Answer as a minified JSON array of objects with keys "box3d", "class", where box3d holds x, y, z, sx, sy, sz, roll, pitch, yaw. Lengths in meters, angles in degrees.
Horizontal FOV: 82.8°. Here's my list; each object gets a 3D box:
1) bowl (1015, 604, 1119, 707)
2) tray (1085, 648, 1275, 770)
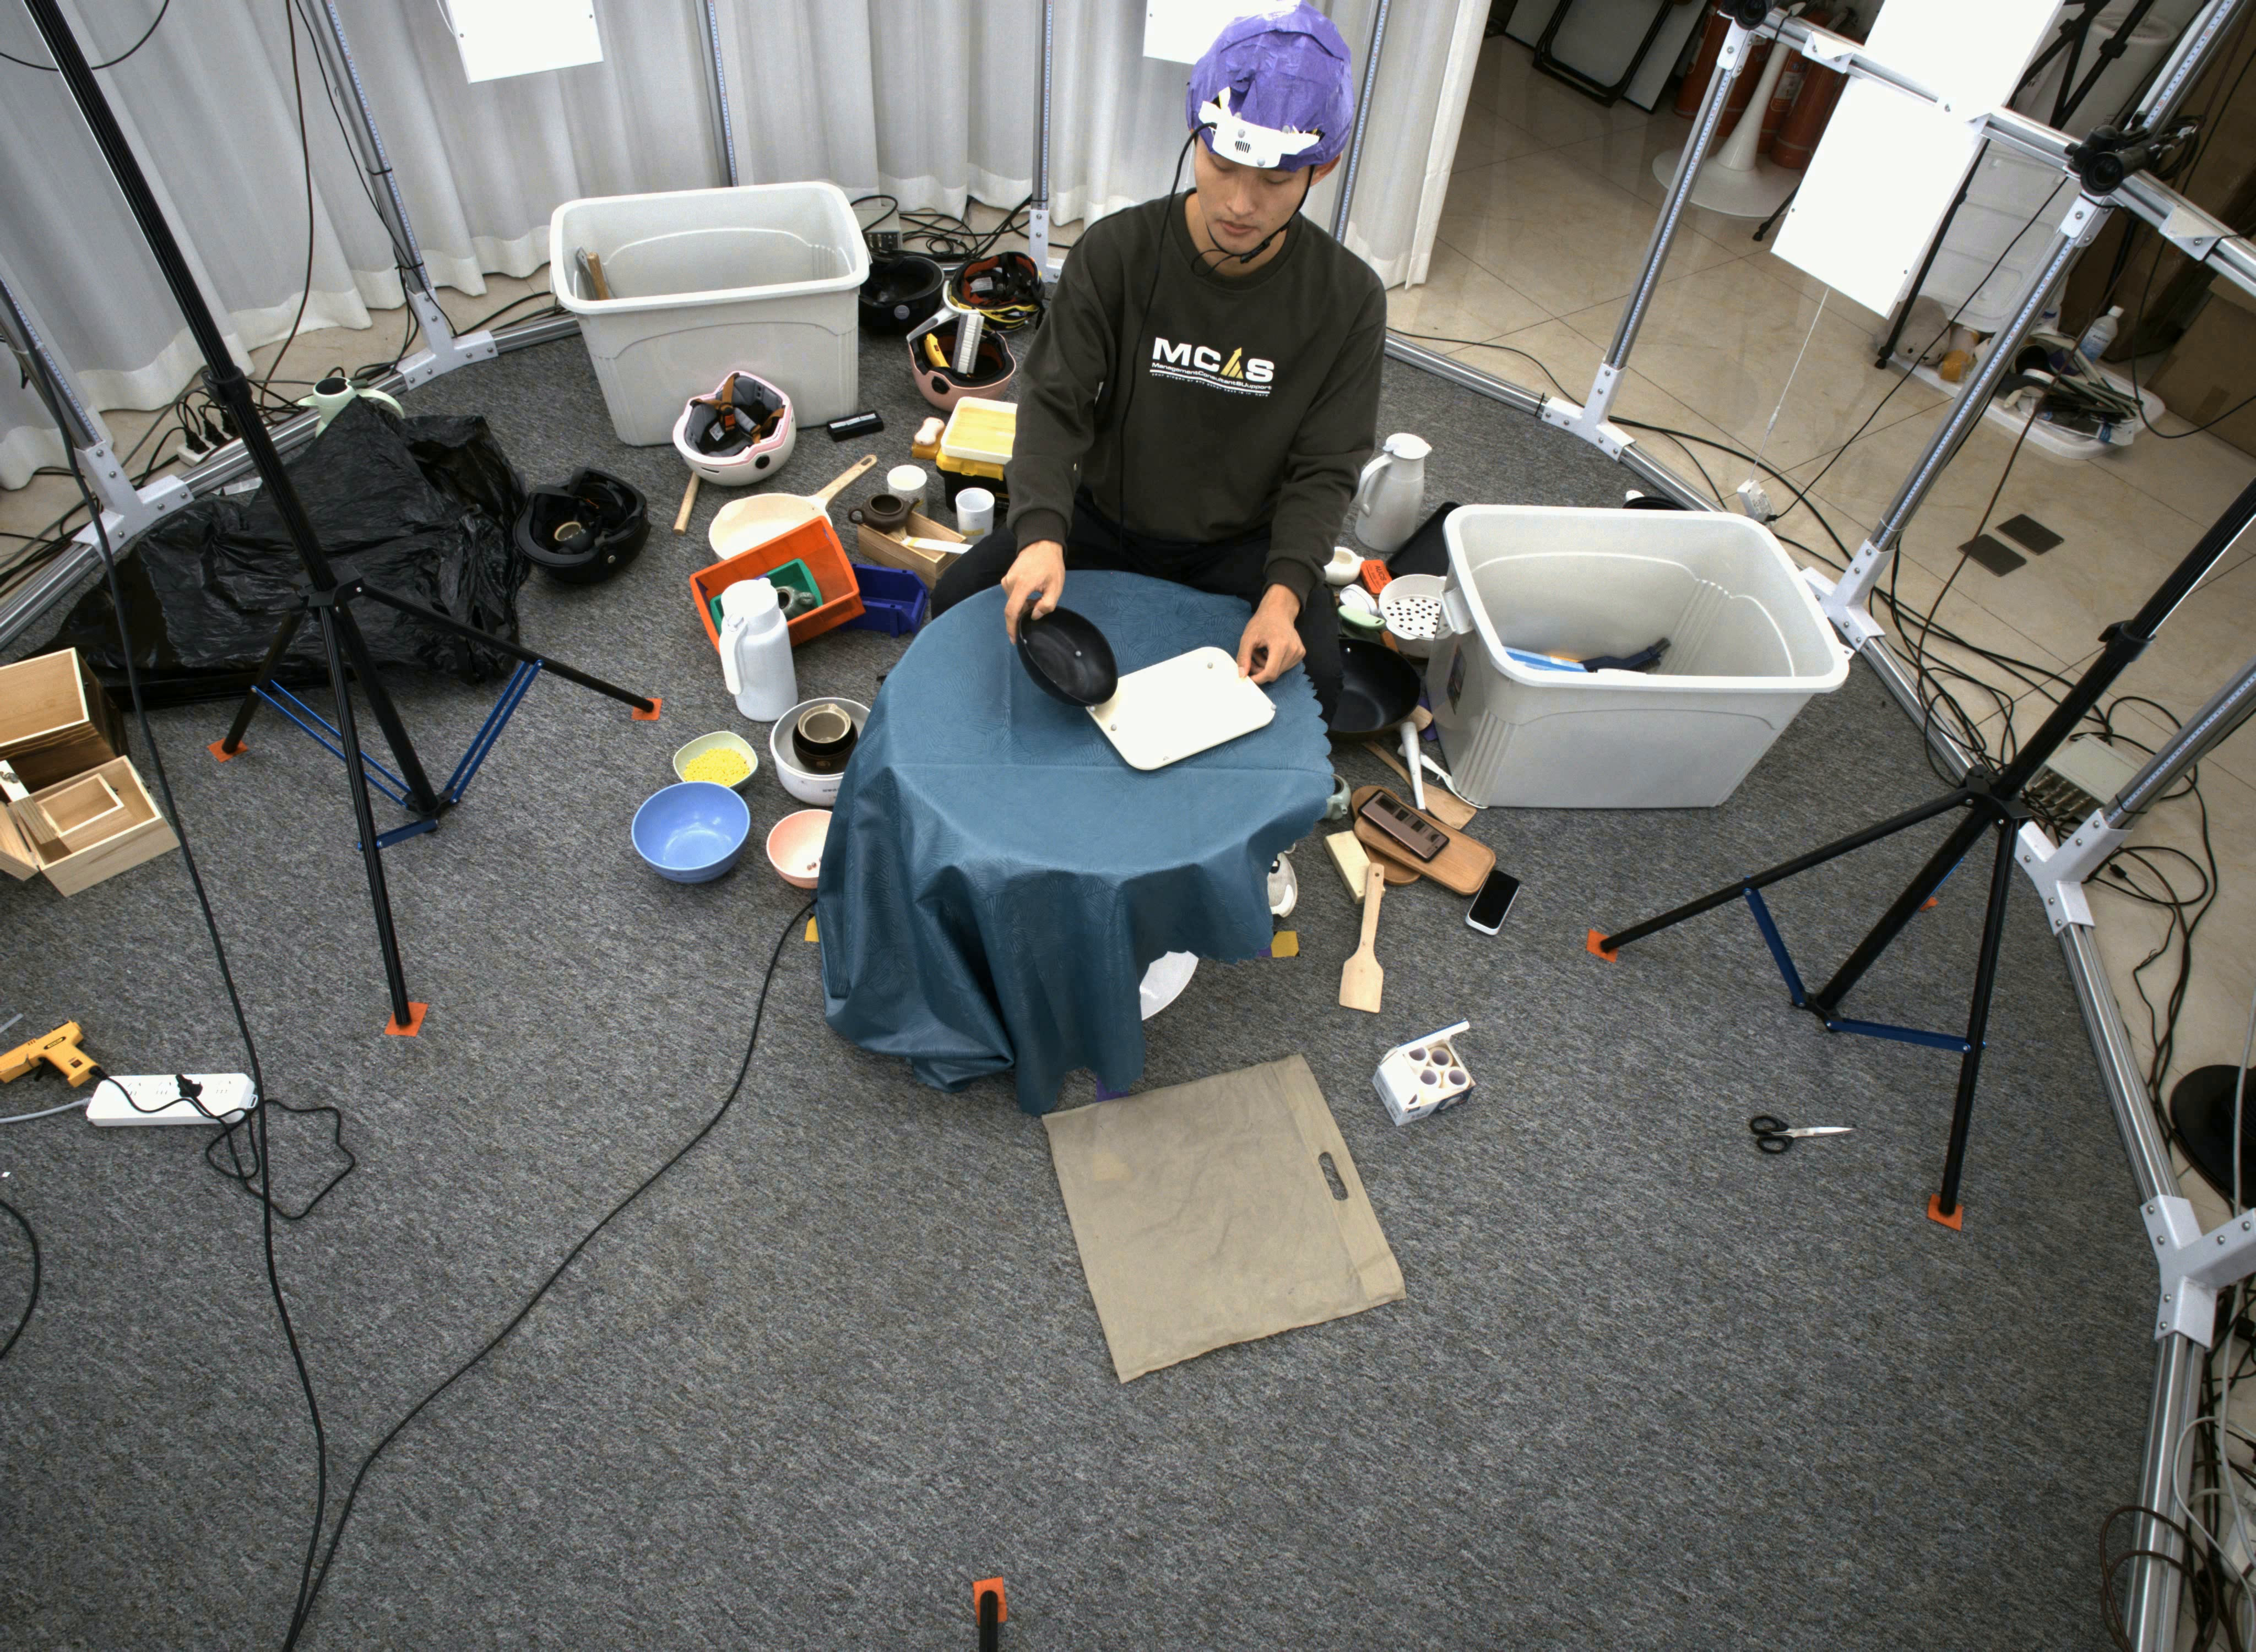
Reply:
[{"box3d":[-0.094,-0.226,1.772,0.168,0.066,0.140,34,50,-24],"class":"bowl"},{"box3d":[0.073,-0.166,1.803,0.240,0.017,0.175,-22,53,-22],"class":"tray"}]
